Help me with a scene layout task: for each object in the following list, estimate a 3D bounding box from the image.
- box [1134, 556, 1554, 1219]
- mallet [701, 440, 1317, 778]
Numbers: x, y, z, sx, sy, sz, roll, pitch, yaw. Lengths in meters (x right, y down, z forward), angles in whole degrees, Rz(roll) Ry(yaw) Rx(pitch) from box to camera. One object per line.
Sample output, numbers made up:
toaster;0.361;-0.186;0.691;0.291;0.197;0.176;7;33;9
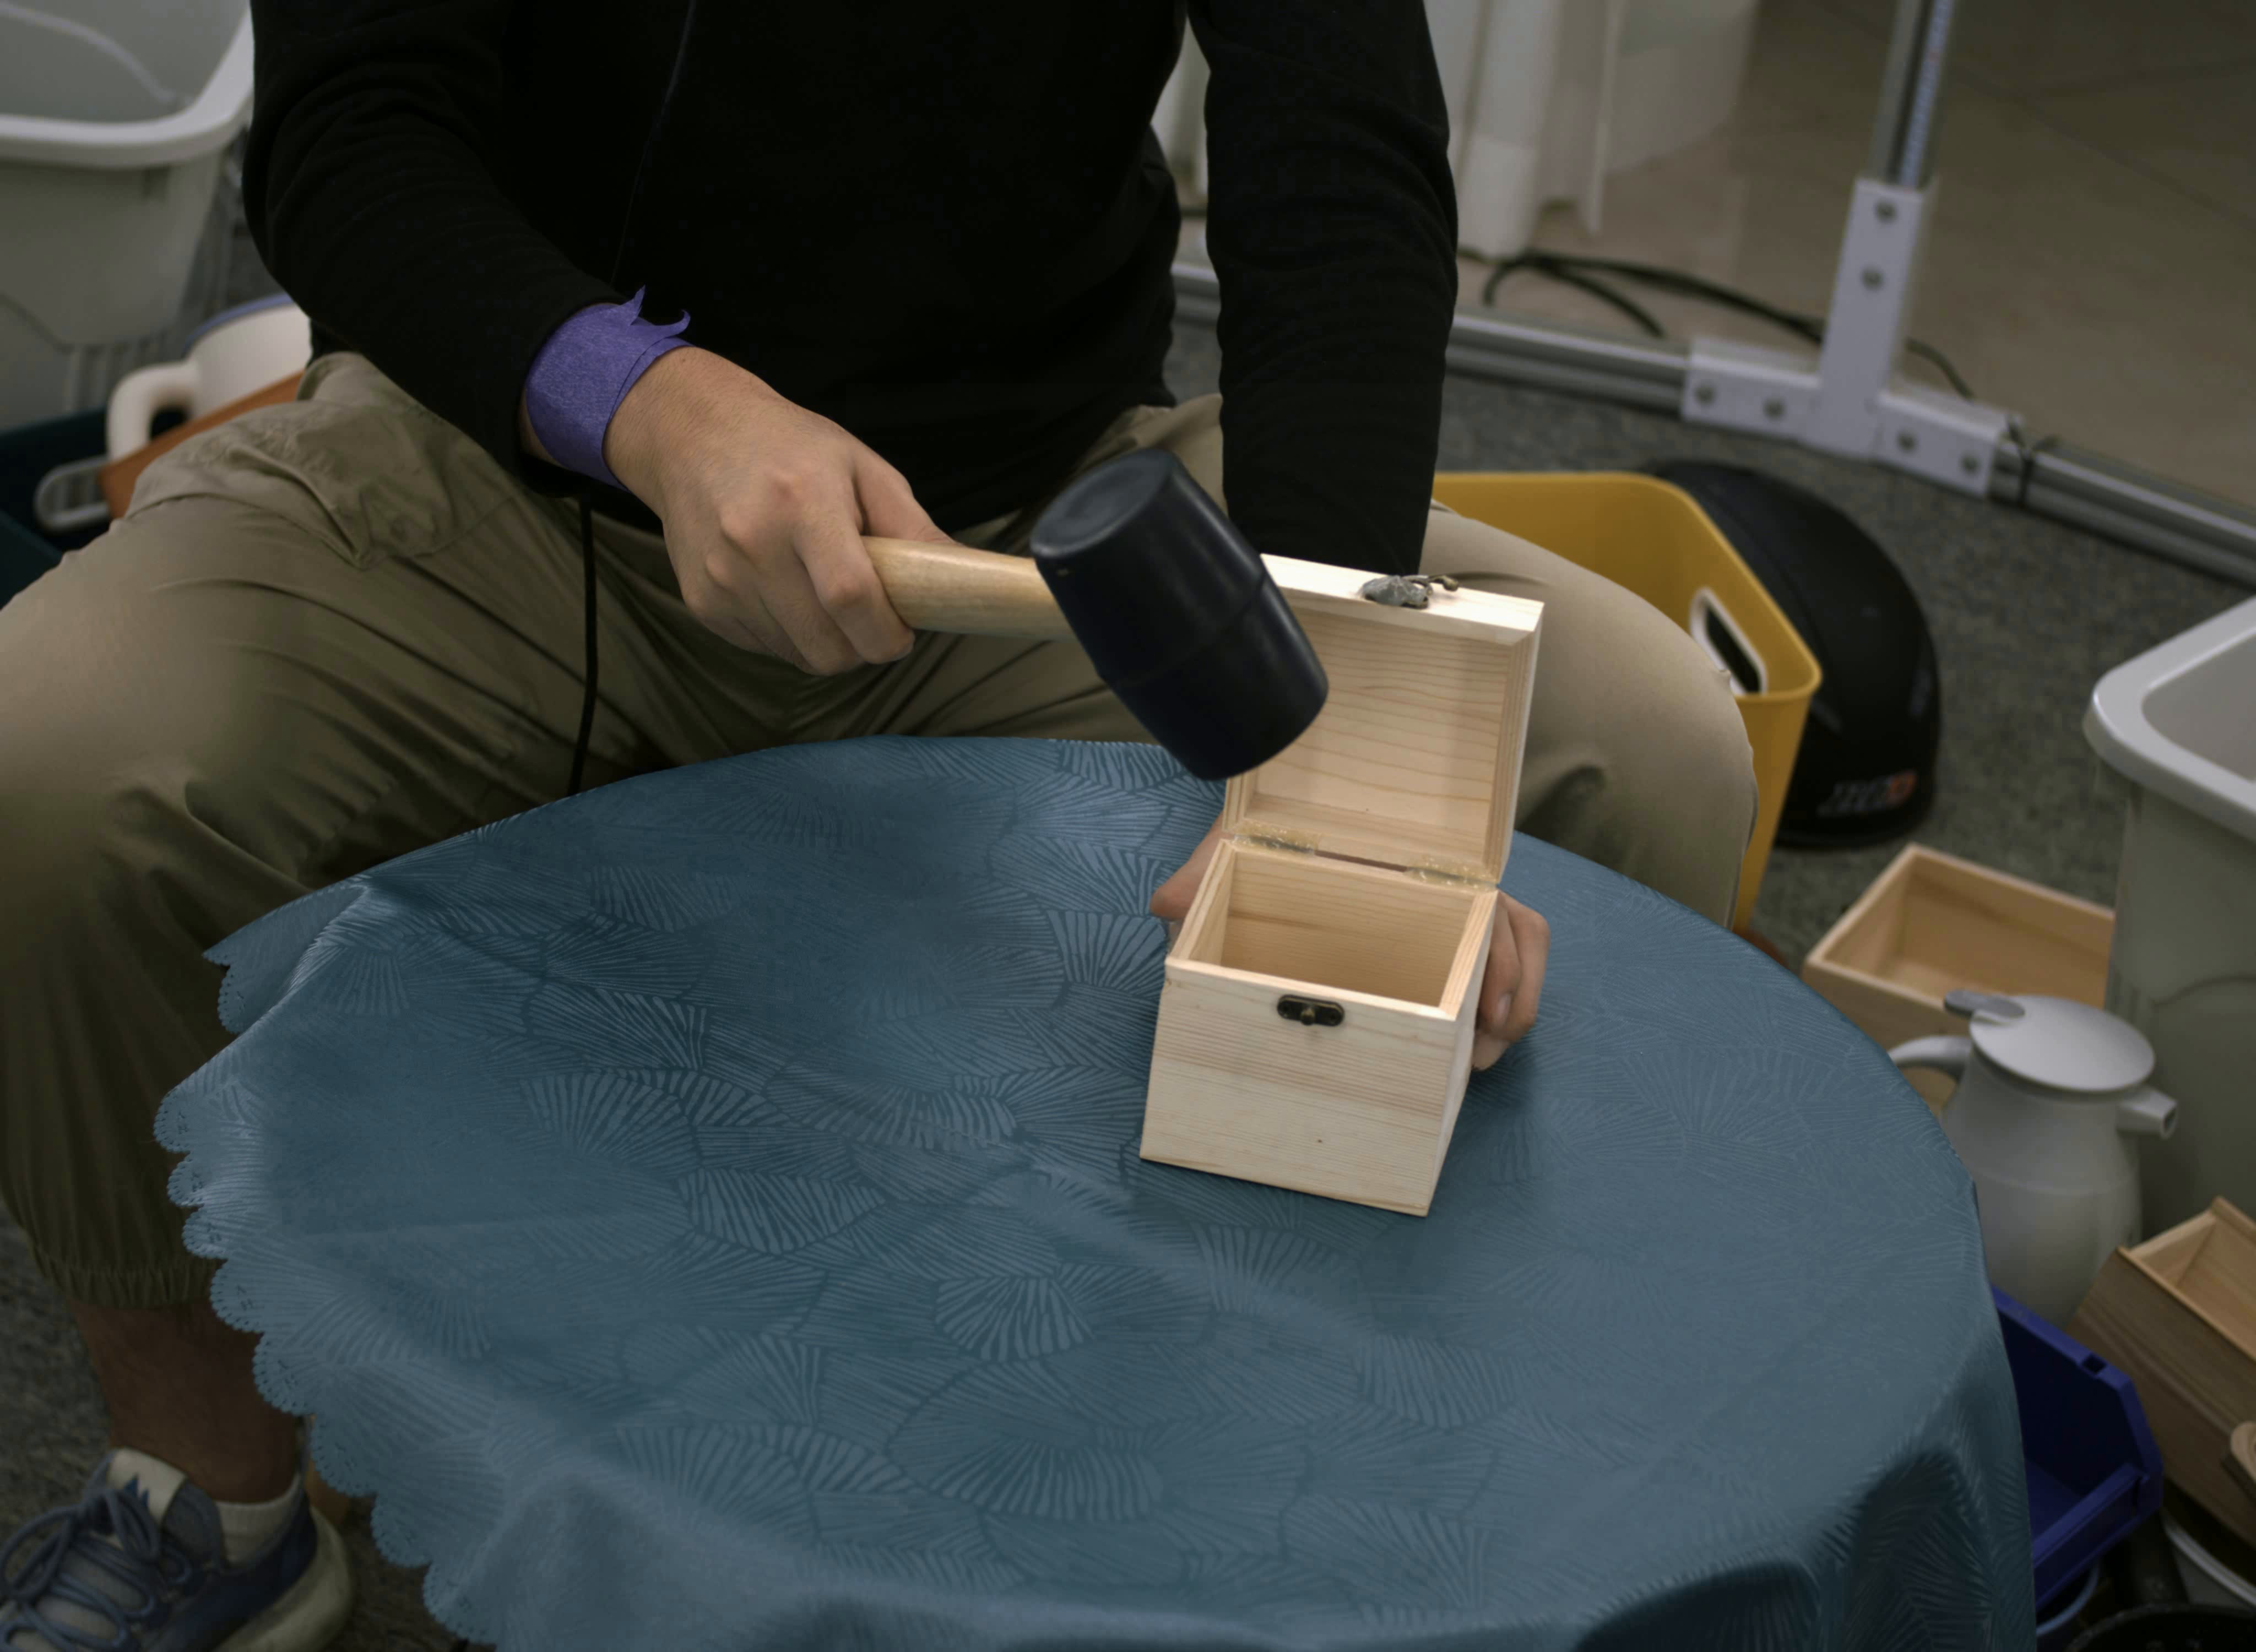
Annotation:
box;0.075;0.019;1.830;0.102;0.184;0.134;12;24;8
mallet;-0.053;-0.085;1.830;0.064;0.101;0.341;-39;22;-19
